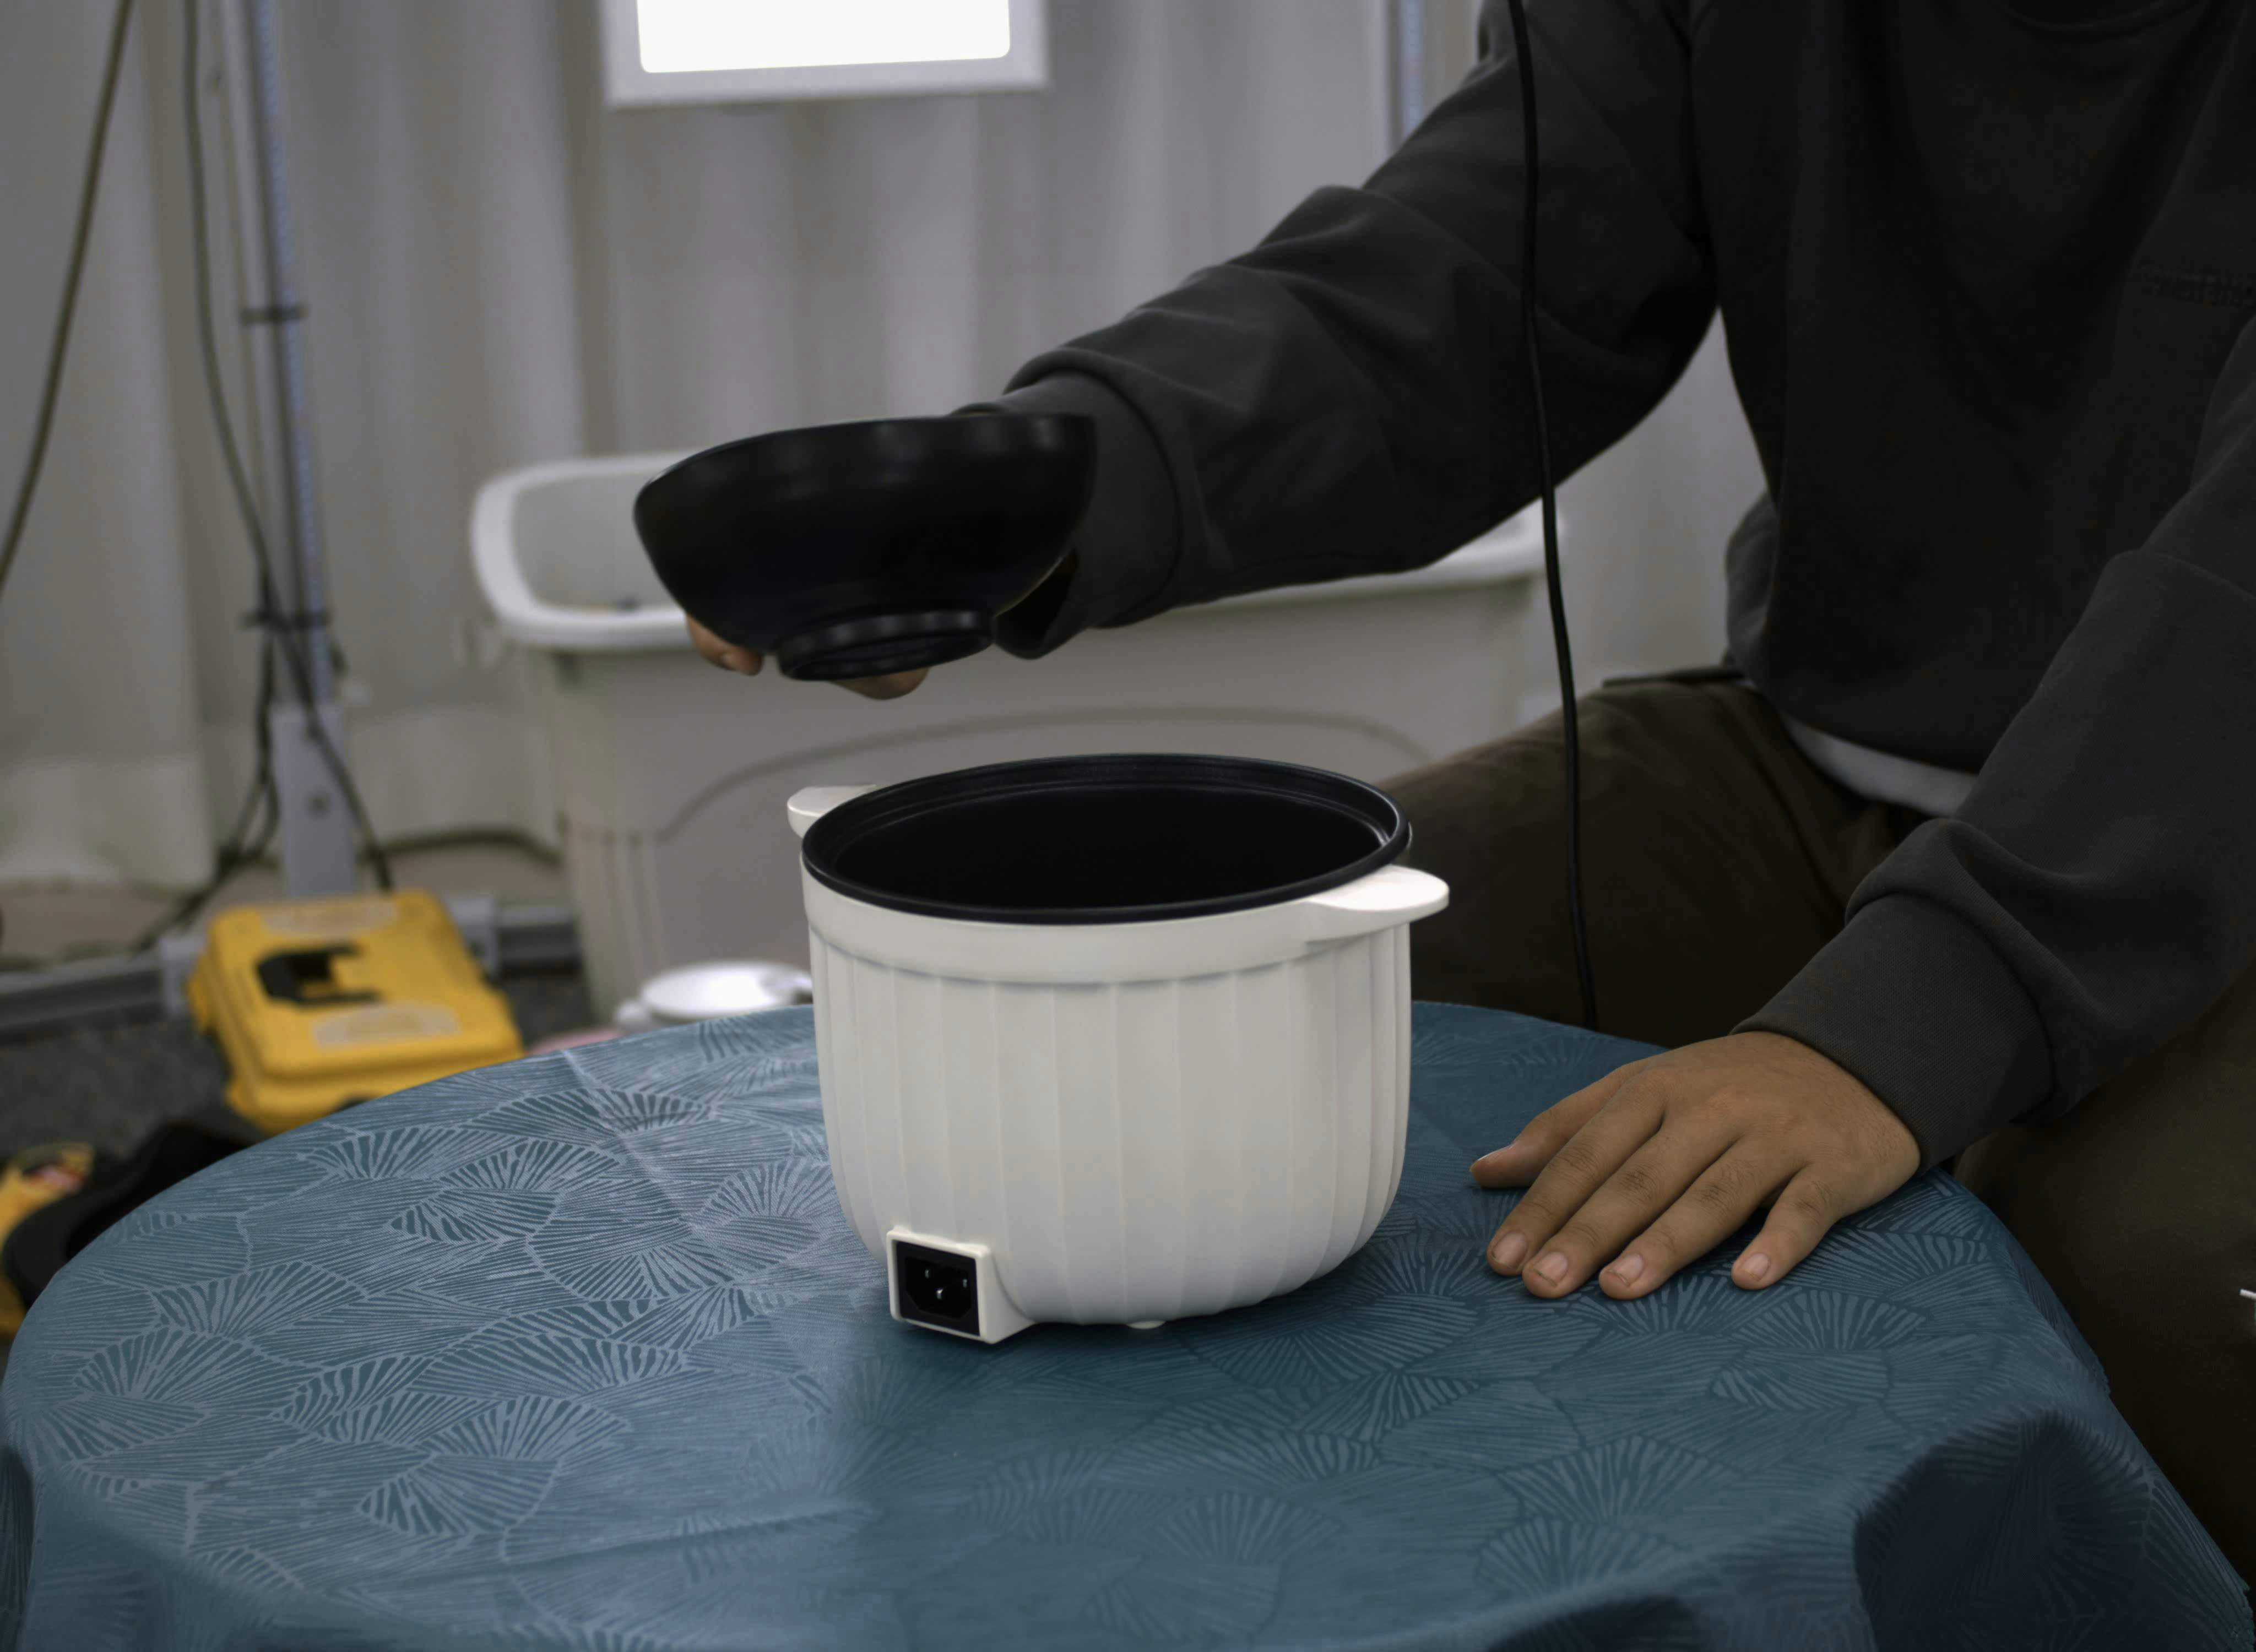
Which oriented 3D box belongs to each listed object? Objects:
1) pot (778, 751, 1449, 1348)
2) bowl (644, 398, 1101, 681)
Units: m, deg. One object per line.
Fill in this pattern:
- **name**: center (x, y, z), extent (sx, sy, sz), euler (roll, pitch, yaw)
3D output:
- **pot**: center (-0.003, 0.064, 1.643), extent (0.241, 0.142, 0.190), euler (10, 22, 36)
- **bowl**: center (-0.077, -0.084, 1.700), extent (0.136, 0.067, 0.170), euler (-5, -10, -36)
